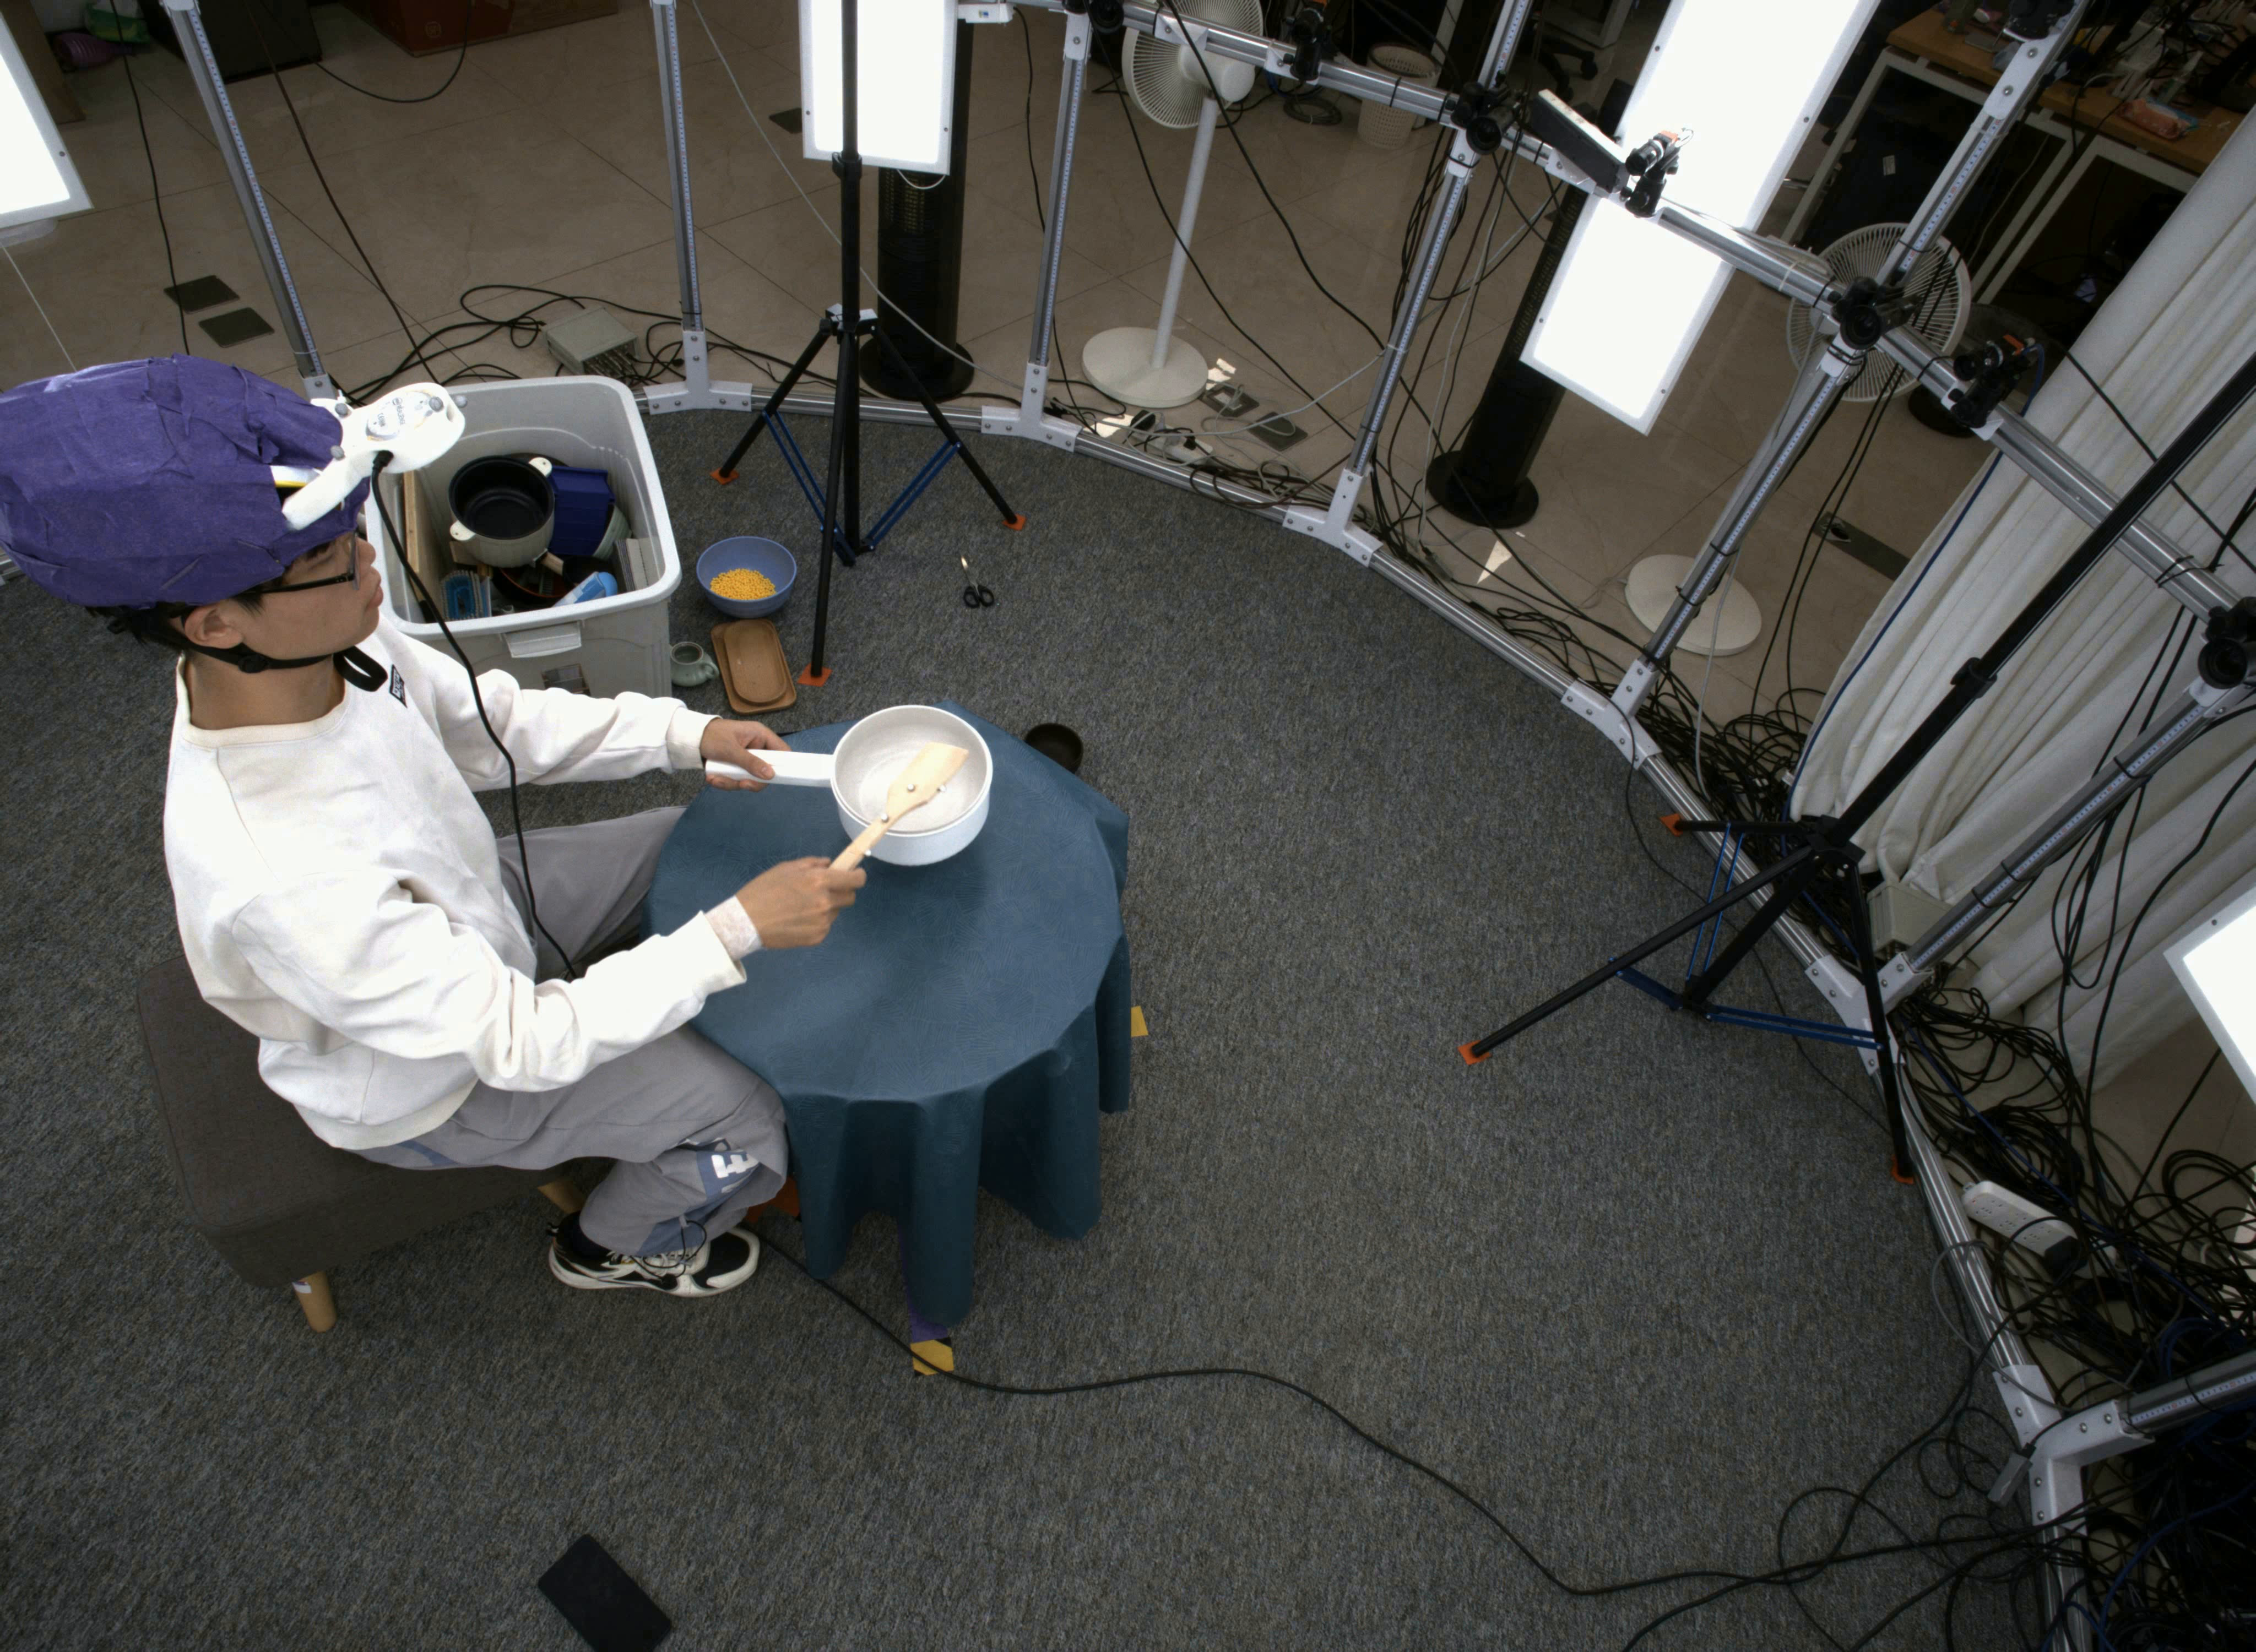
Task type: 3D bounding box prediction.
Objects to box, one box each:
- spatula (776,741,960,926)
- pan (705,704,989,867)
[{"bbox_3d":[-0.294,0.004,1.462,0.069,0.011,0.292,13,52,34],"label":"spatula"},{"bbox_3d":[-0.353,-0.052,1.661,0.352,0.104,0.198,3,58,-5],"label":"pan"}]
